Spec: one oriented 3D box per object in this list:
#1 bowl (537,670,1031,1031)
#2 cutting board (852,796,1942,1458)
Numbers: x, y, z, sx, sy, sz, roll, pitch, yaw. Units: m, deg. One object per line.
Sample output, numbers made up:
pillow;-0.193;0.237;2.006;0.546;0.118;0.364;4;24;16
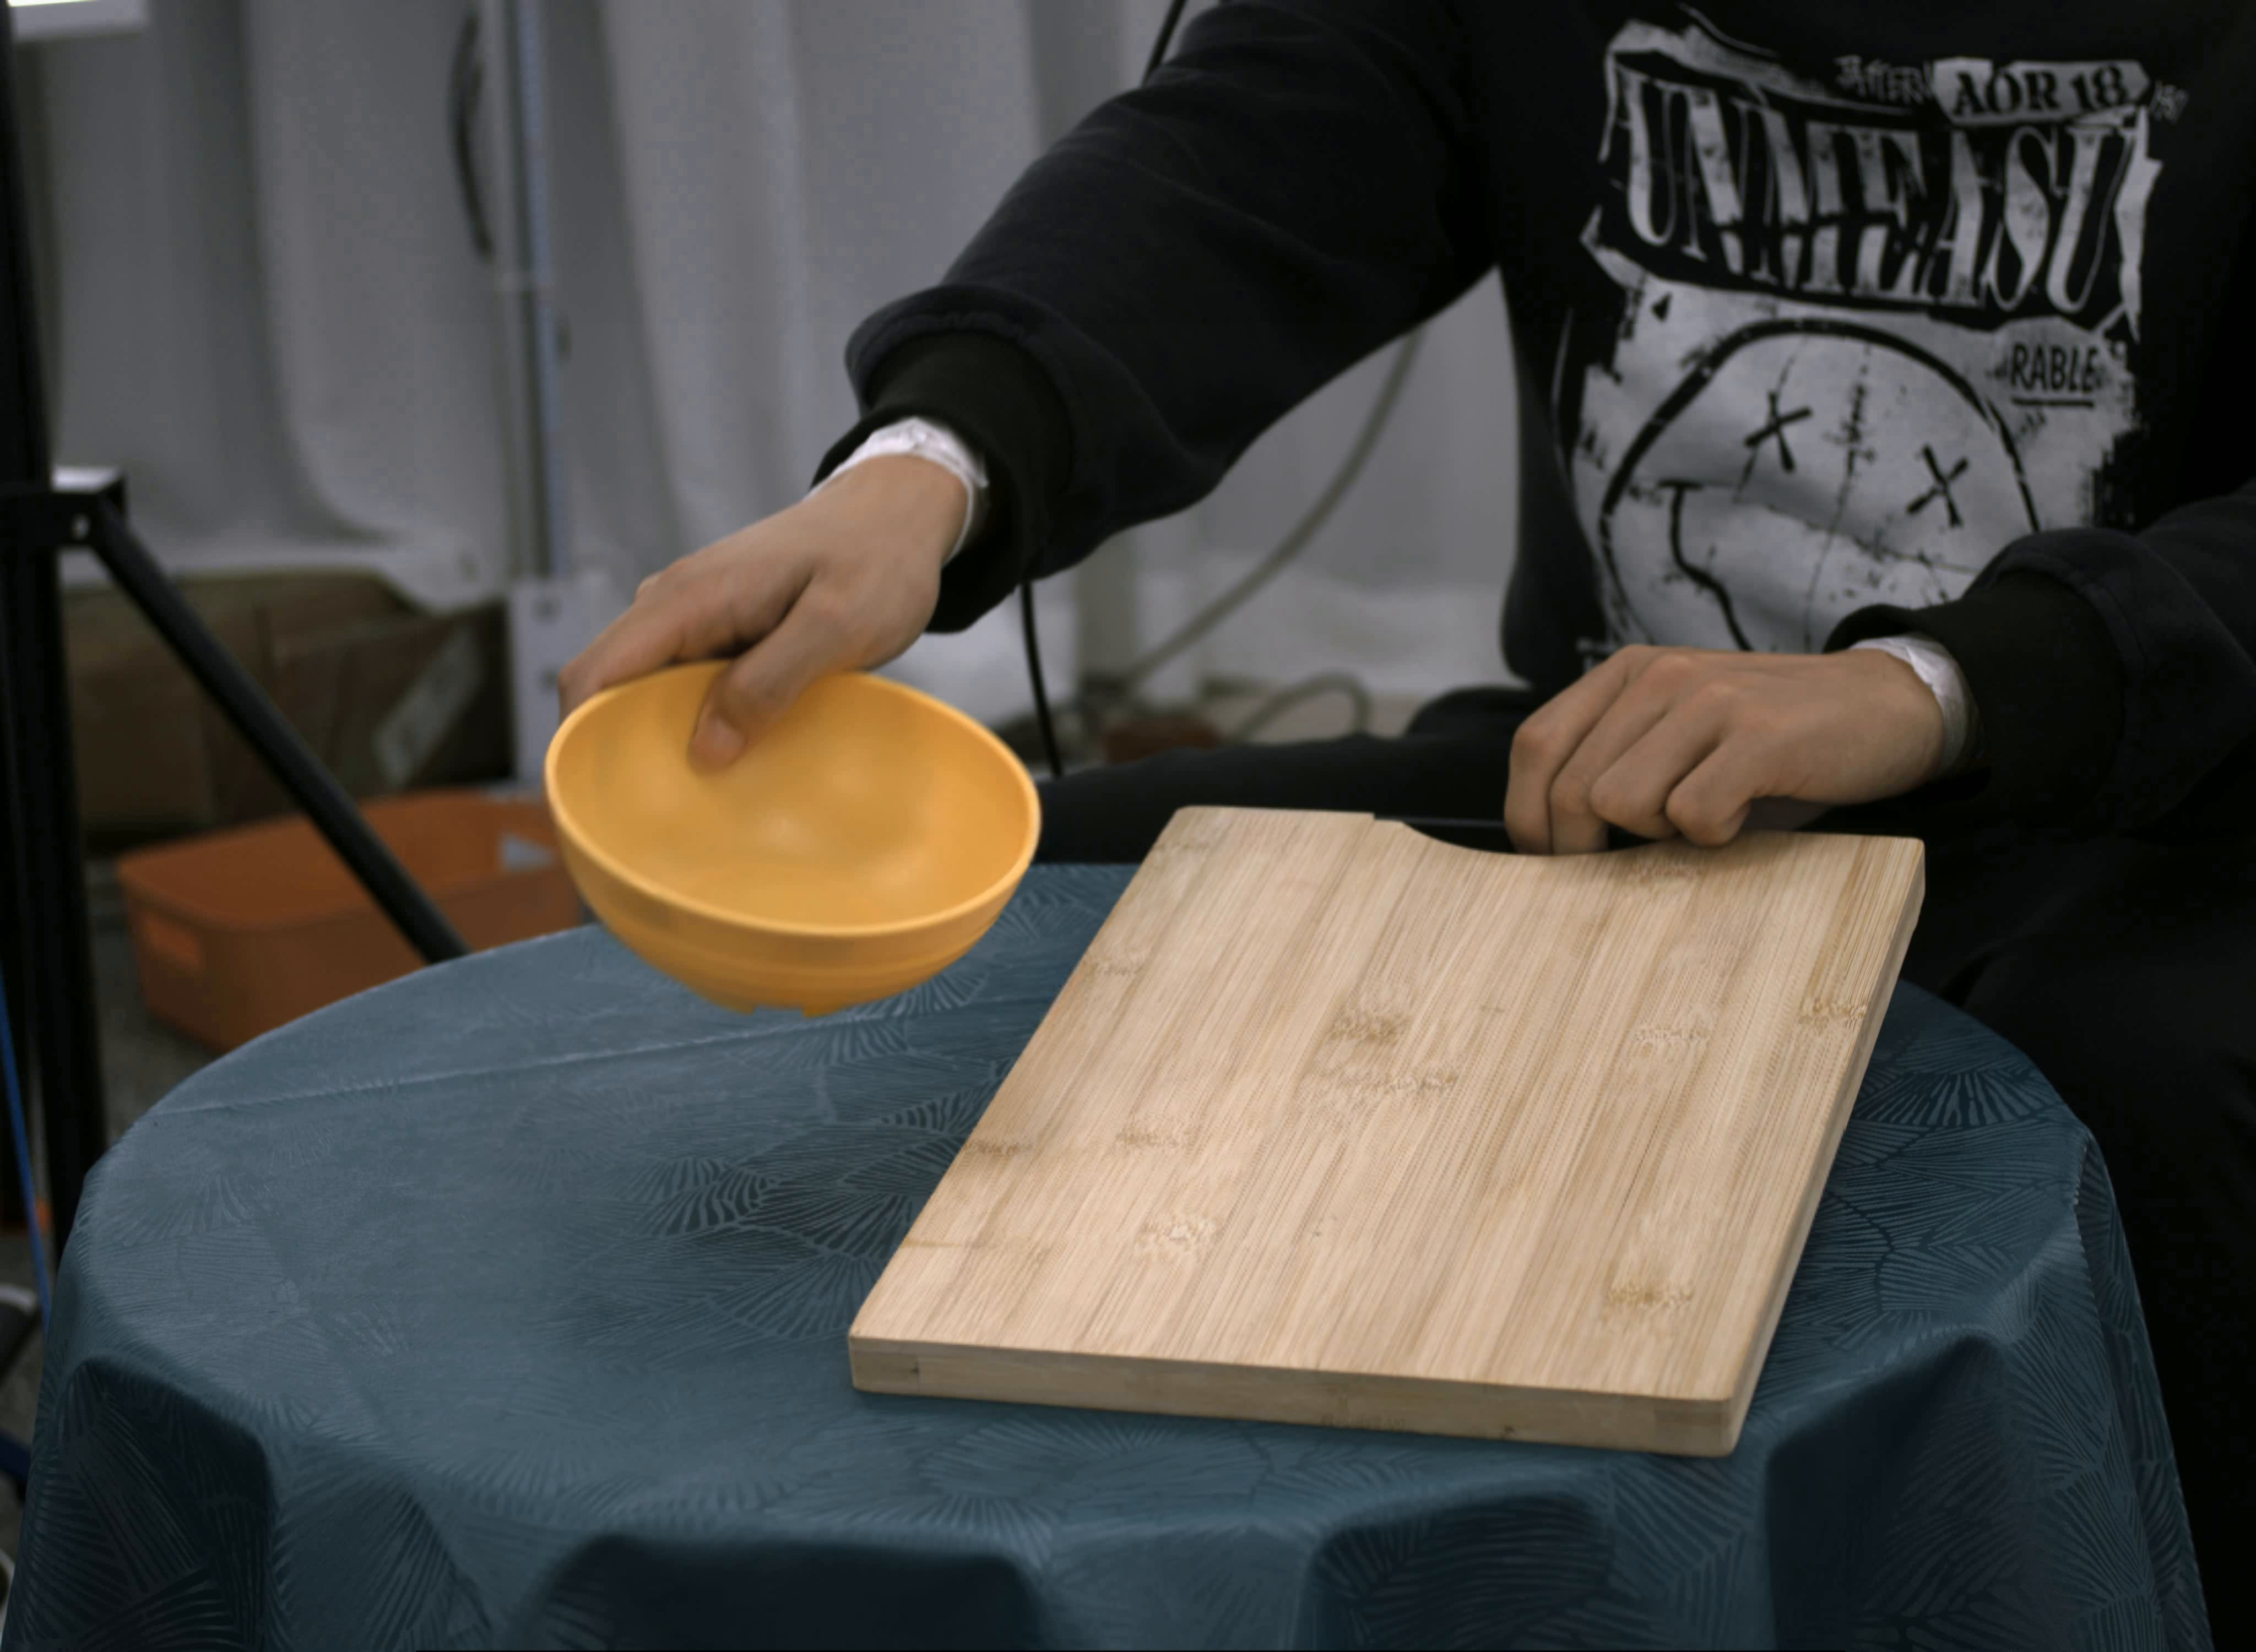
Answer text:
bowl;-0.103;0.017;1.553;0.144;0.060;0.146;7;32;-5
cutting board;0.088;0.077;1.526;0.253;0.023;0.347;2;26;16
